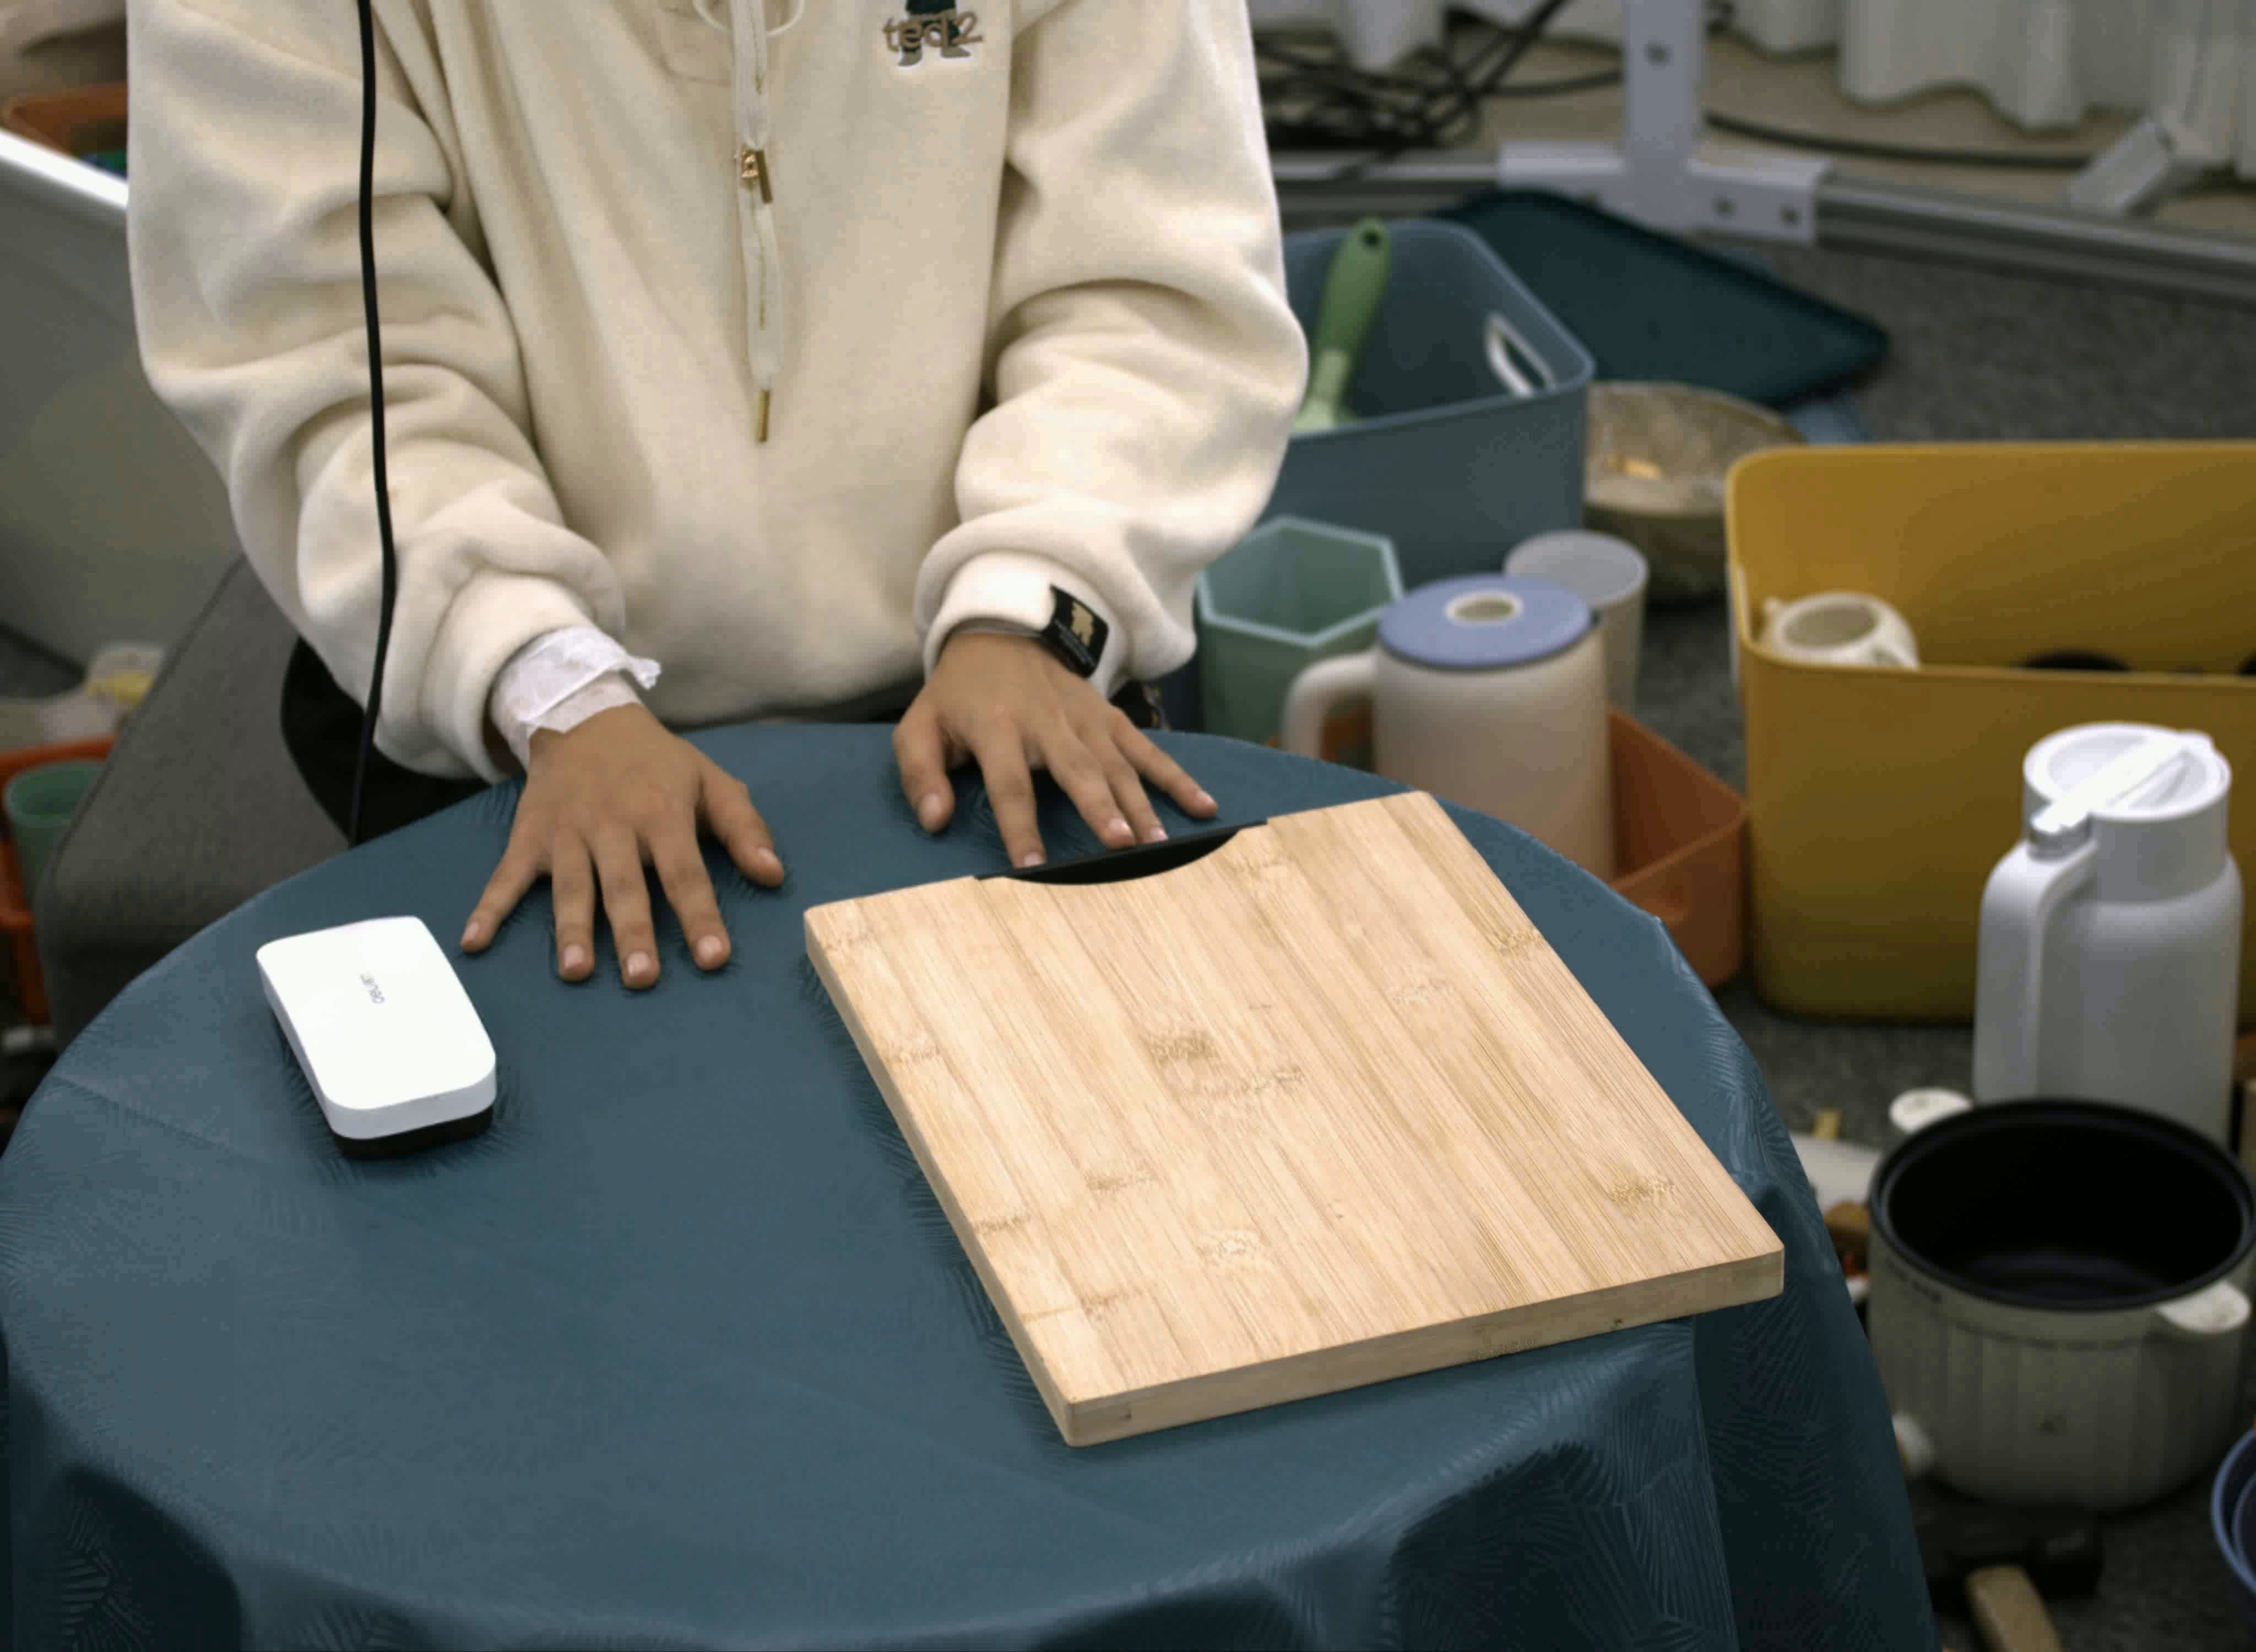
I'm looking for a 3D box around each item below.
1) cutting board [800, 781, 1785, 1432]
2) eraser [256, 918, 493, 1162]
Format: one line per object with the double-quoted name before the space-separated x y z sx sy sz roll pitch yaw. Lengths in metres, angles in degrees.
"cutting board" 0.045 0.088 1.905 0.251 0.023 0.352 -11 28 -15
"eraser" -0.261 0.071 1.953 0.063 0.034 0.132 -11 29 -16
